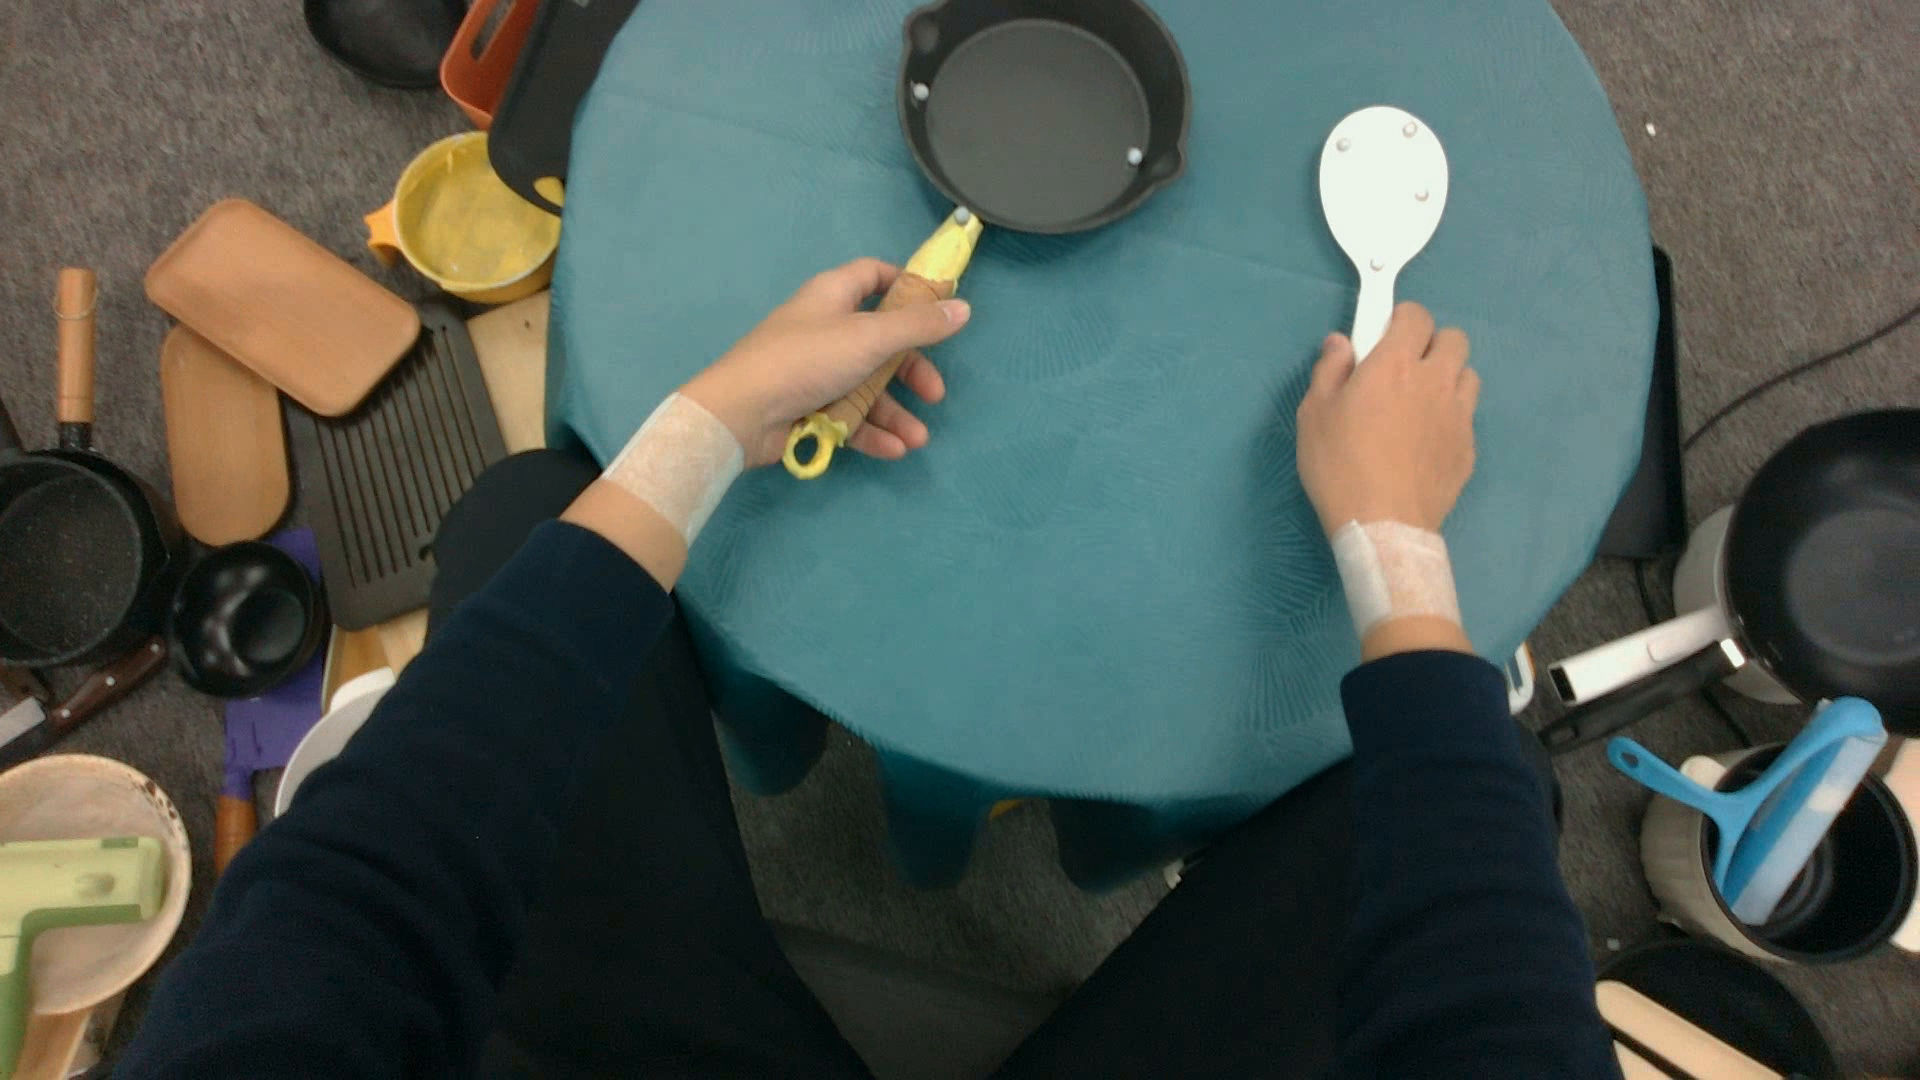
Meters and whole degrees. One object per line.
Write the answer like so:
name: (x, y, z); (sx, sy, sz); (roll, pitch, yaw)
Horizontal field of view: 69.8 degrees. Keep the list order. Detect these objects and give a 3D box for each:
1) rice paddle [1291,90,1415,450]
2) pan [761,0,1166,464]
rice paddle: (0.210, -0.150, 0.740); (0.069, 0.029, 0.205); (5, 78, -2)
pan: (-0.012, -0.173, 0.716); (0.169, 0.049, 0.325); (31, 76, 2)
